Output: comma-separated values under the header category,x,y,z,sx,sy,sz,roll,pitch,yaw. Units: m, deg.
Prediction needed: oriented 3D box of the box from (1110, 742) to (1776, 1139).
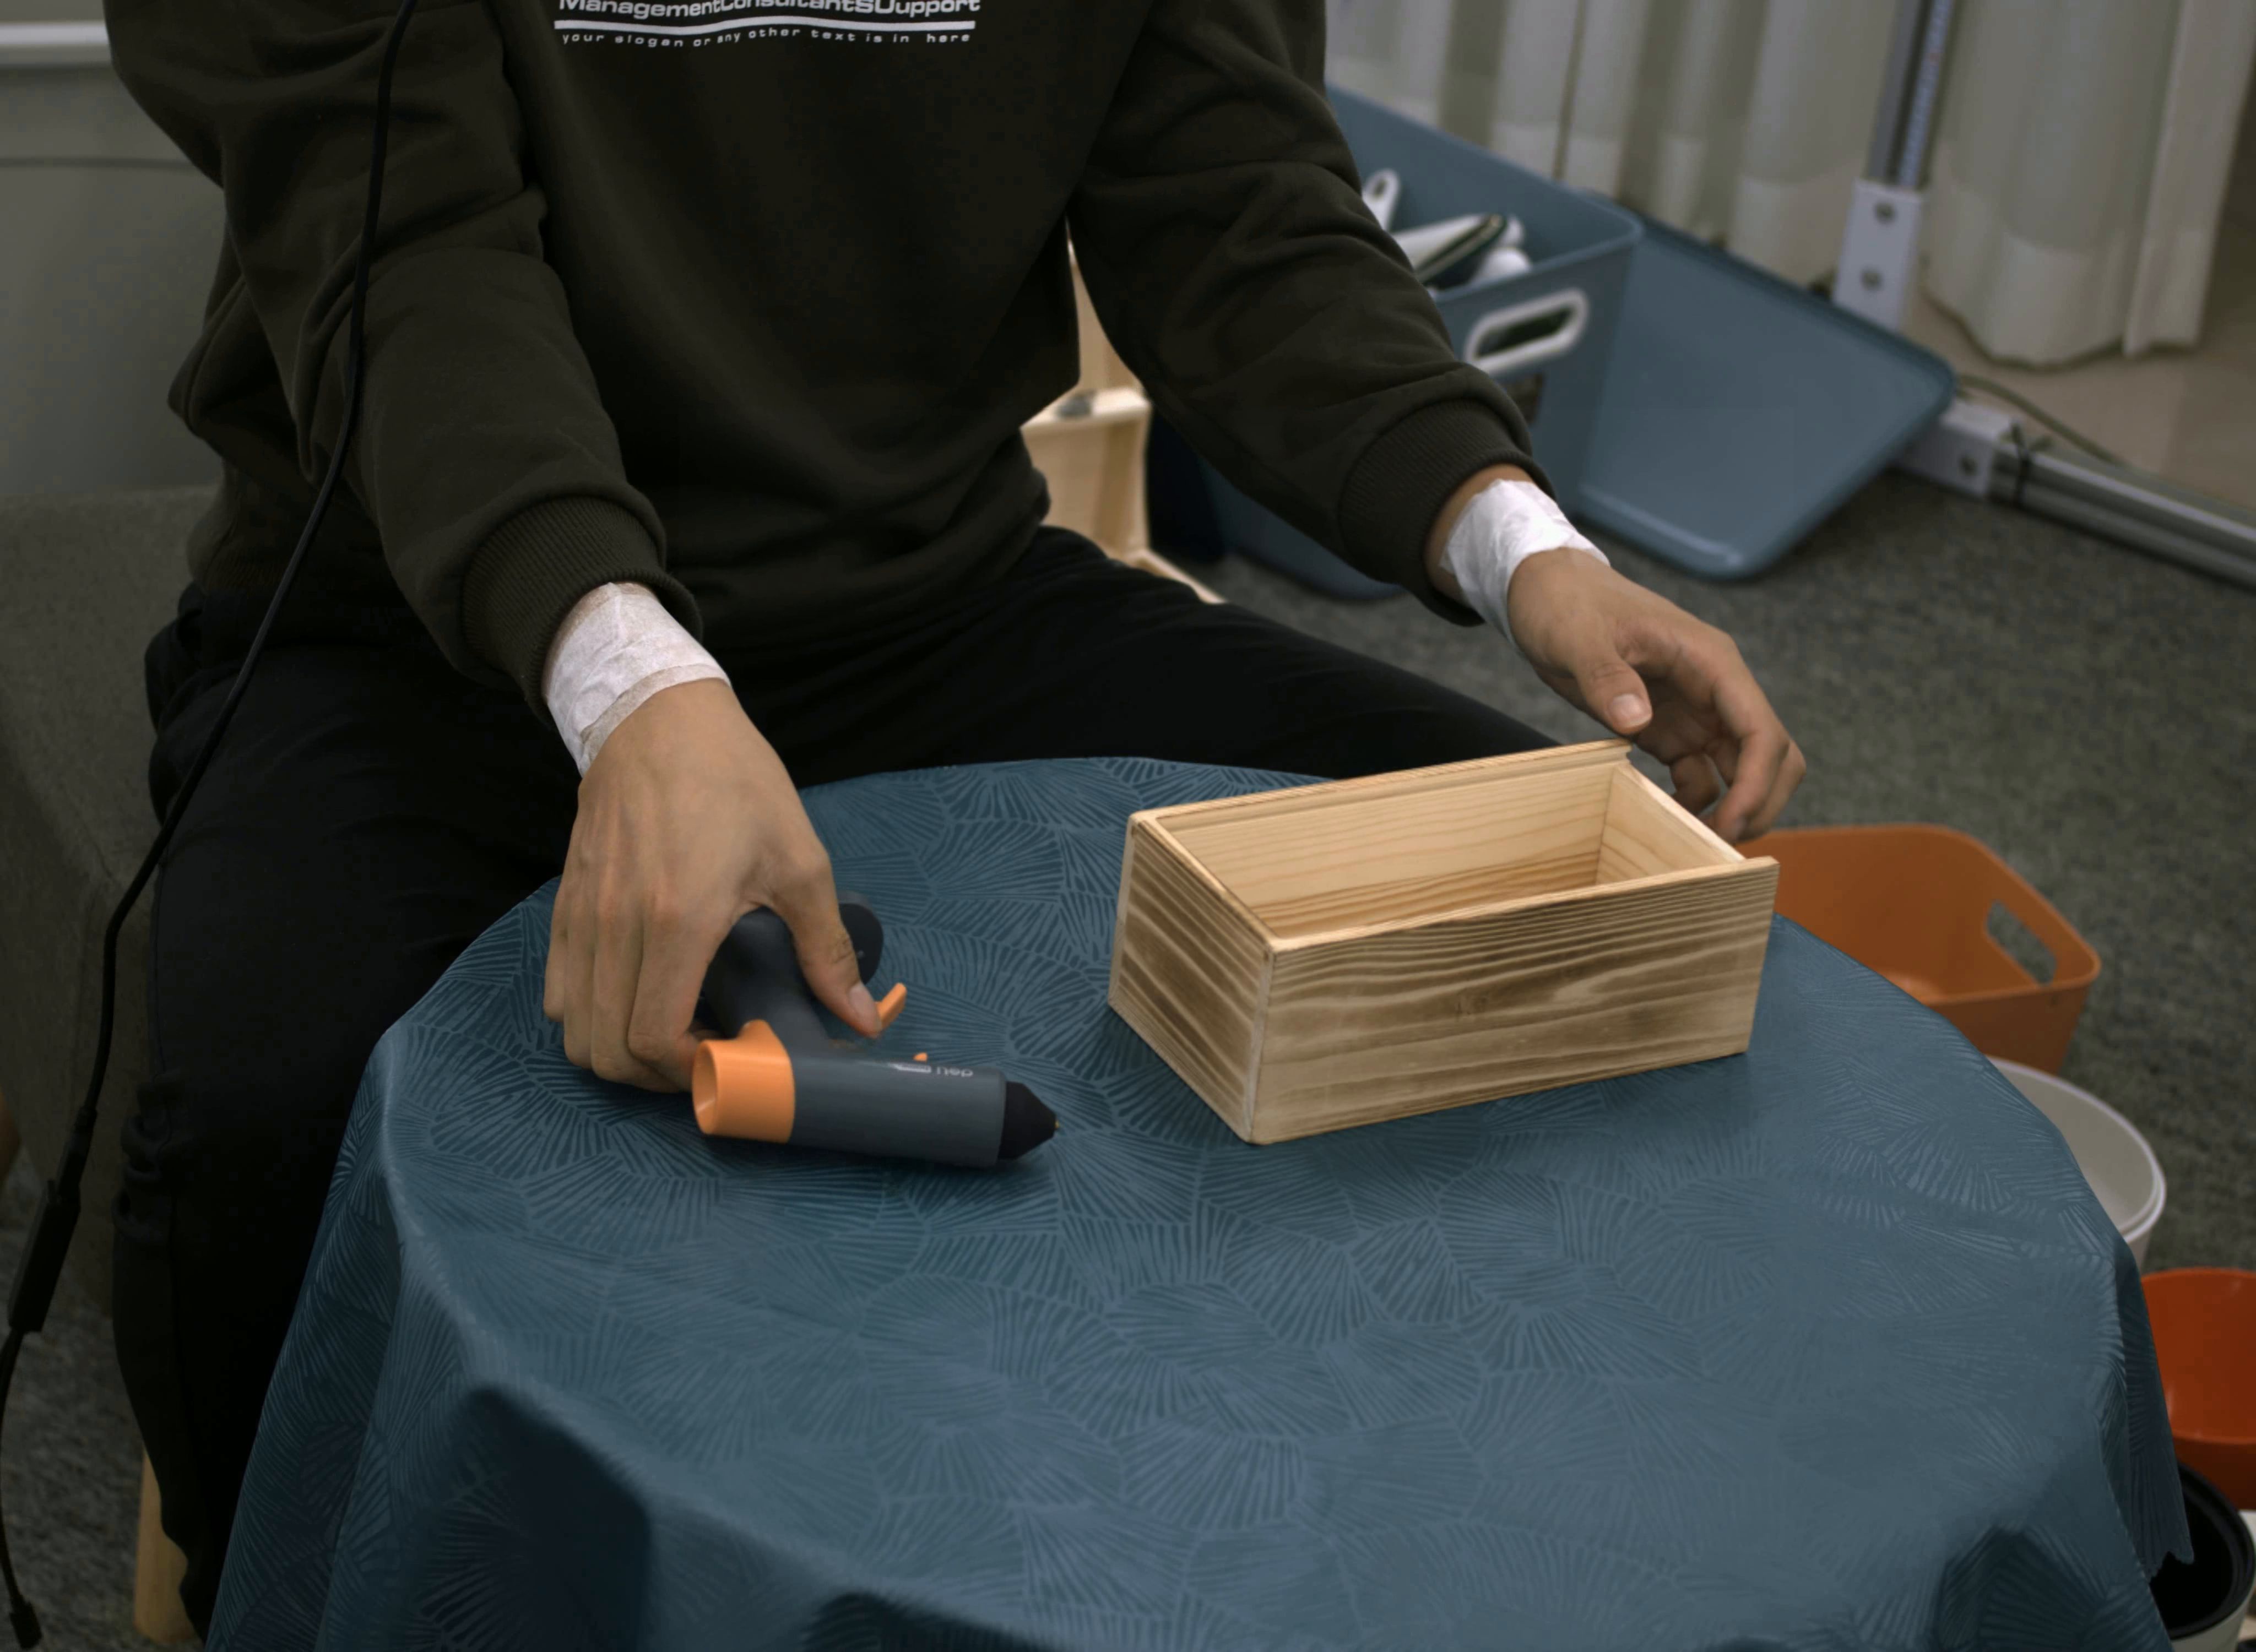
category,x,y,z,sx,sy,sz,roll,pitch,yaw
box,0.113,0.039,1.915,0.210,0.080,0.108,-8,30,-28

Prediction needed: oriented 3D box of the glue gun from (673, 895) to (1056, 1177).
category,x,y,z,sx,sy,sz,roll,pitch,yaw
glue gun,-0.098,0.076,1.845,0.117,0.041,0.141,2,28,-23
